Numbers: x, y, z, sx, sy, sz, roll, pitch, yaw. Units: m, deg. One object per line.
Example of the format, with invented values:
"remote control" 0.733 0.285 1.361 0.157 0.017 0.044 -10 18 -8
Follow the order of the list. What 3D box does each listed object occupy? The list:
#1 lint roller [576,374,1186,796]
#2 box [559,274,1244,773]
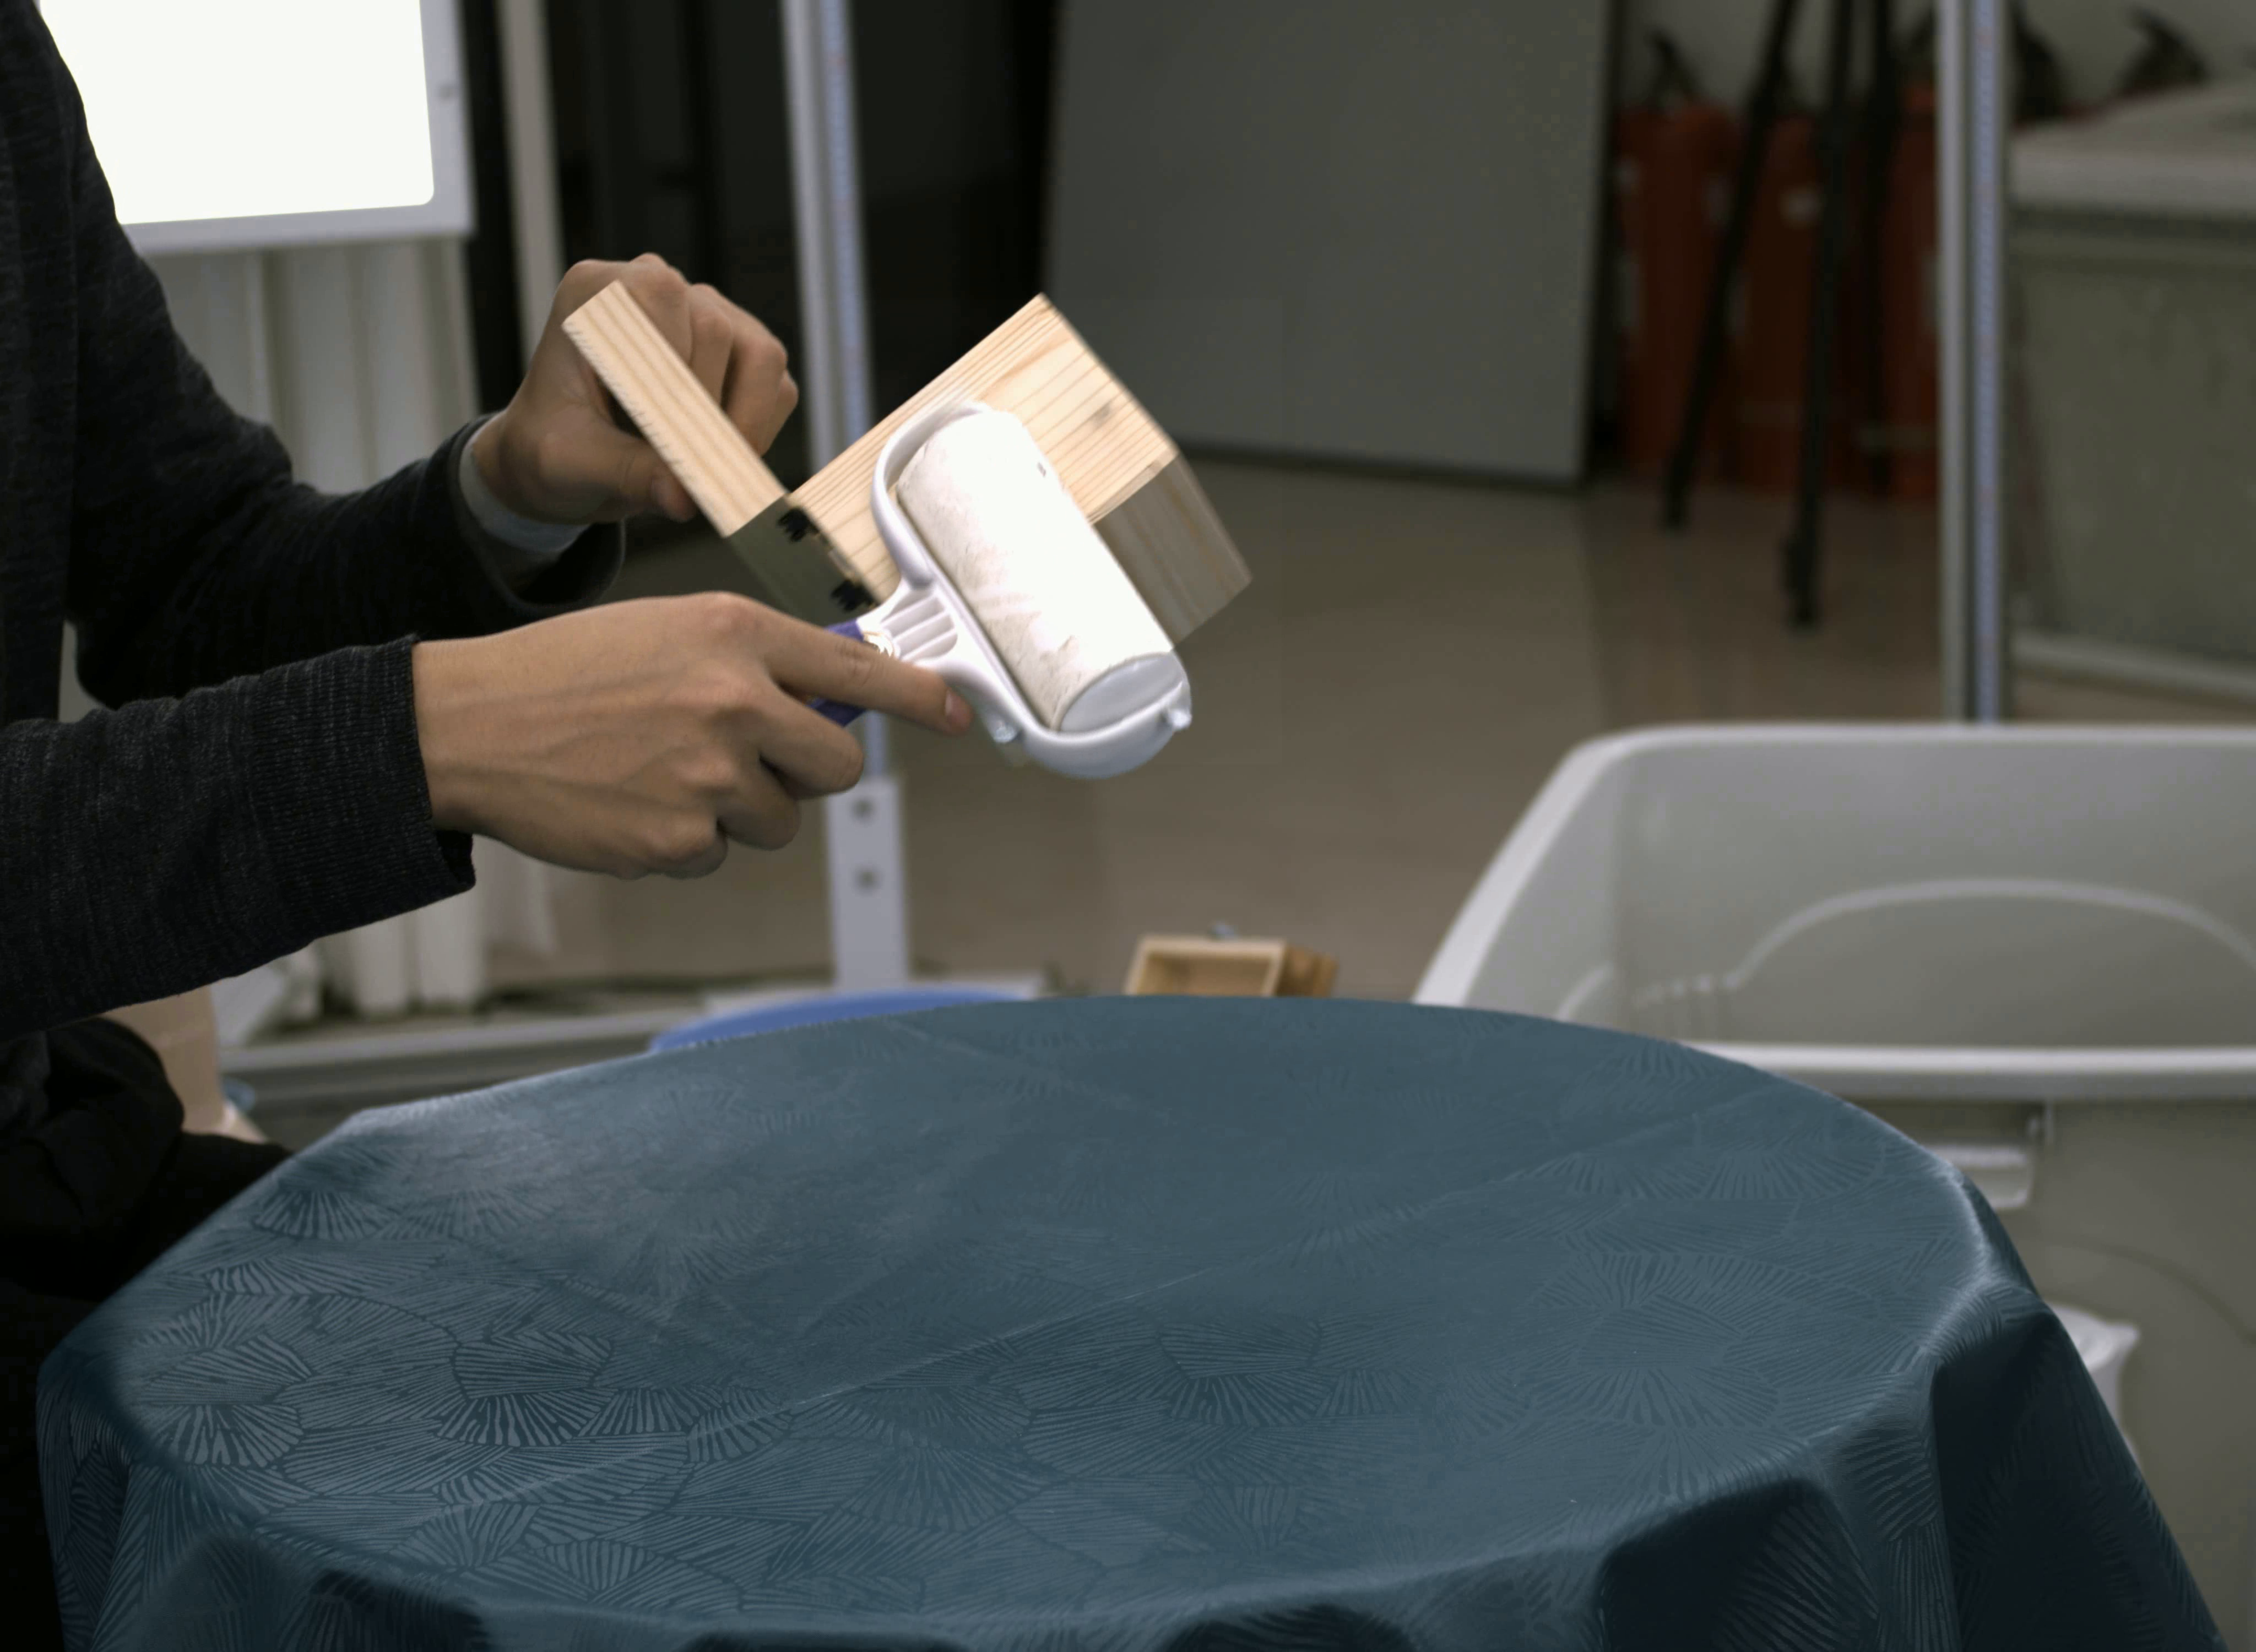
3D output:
"lint roller" -0.083 -0.060 1.603 0.177 0.050 0.134 -20 60 -21
"box" -0.072 -0.124 1.741 0.133 0.186 0.102 -39 -28 0
